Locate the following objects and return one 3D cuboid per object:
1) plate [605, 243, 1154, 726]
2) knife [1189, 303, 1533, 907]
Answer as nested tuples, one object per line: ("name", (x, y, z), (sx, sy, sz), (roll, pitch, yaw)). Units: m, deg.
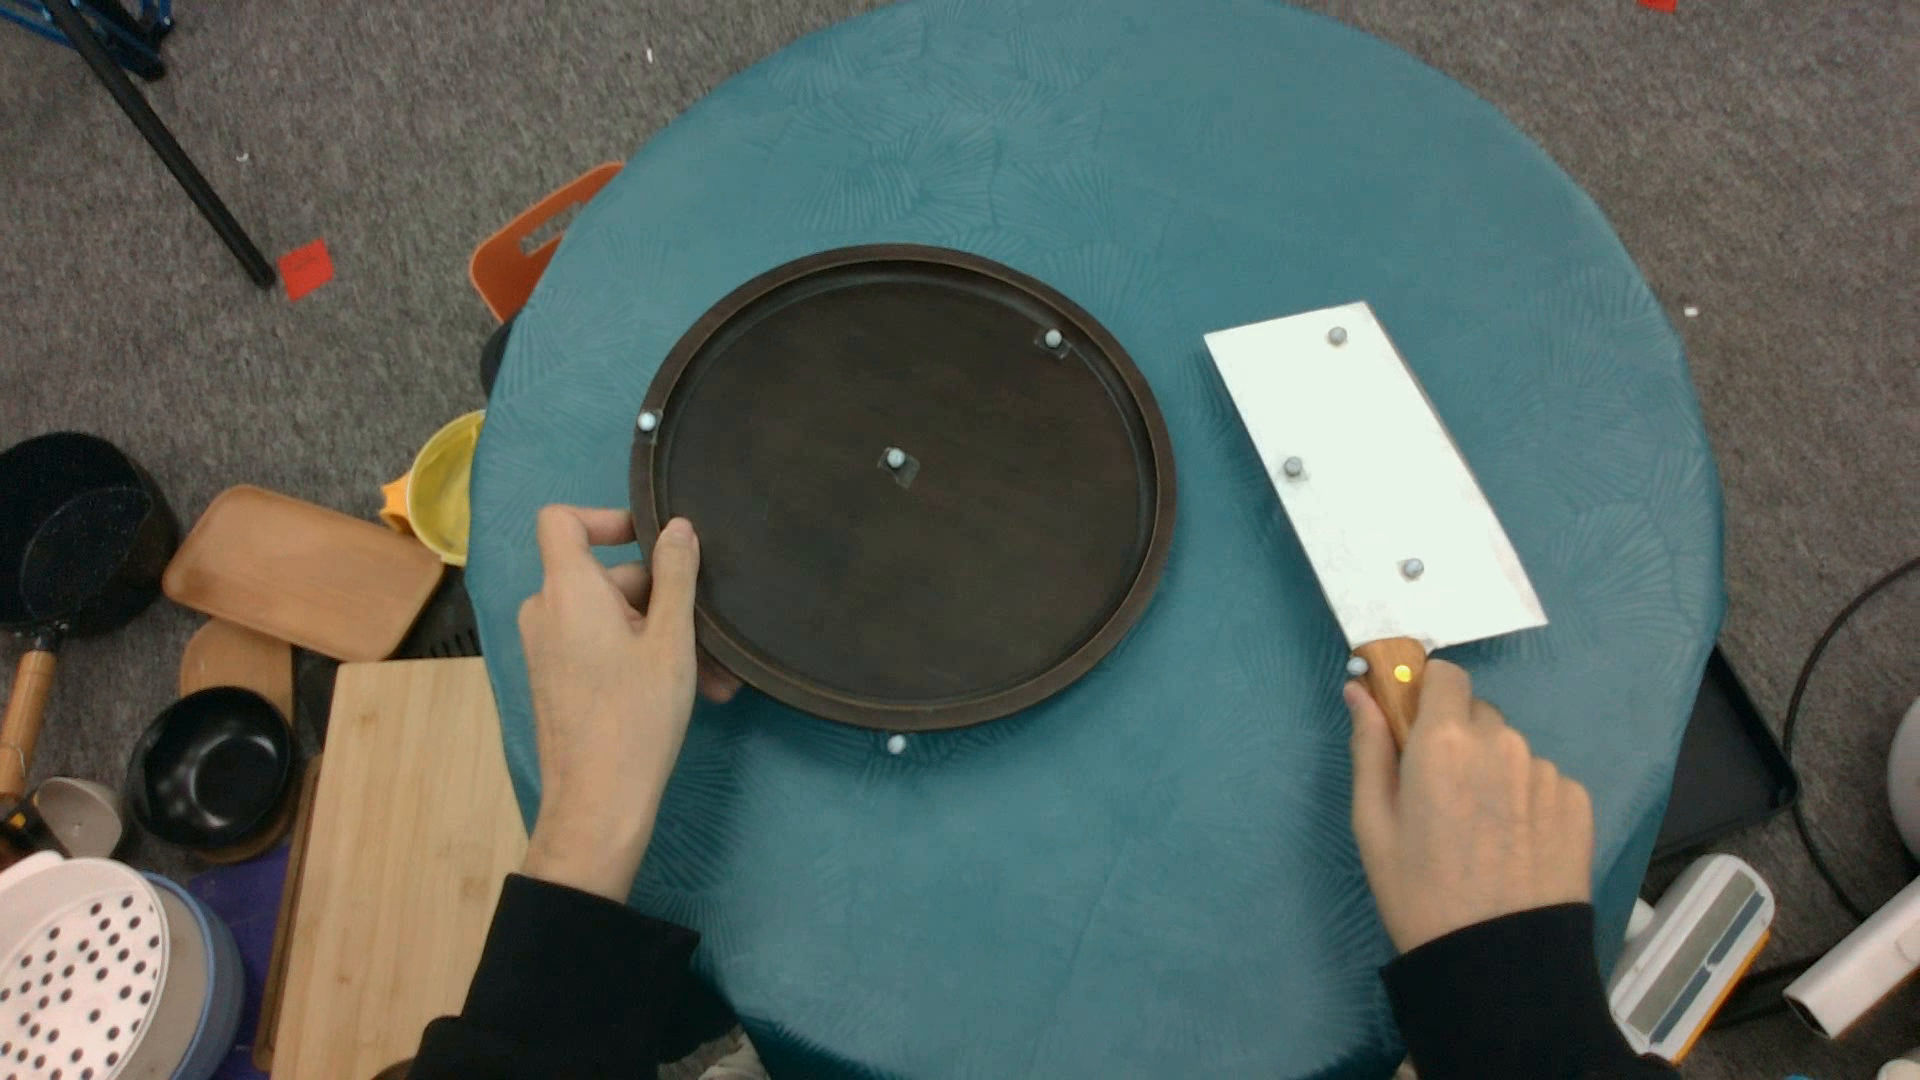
("plate", (-0.035, -0.033, 0.643), (0.255, 0.029, 0.256), (2, 63, -4))
("knife", (0.194, 0.009, 0.620), (0.093, 0.021, 0.306), (-12, 59, -10))
